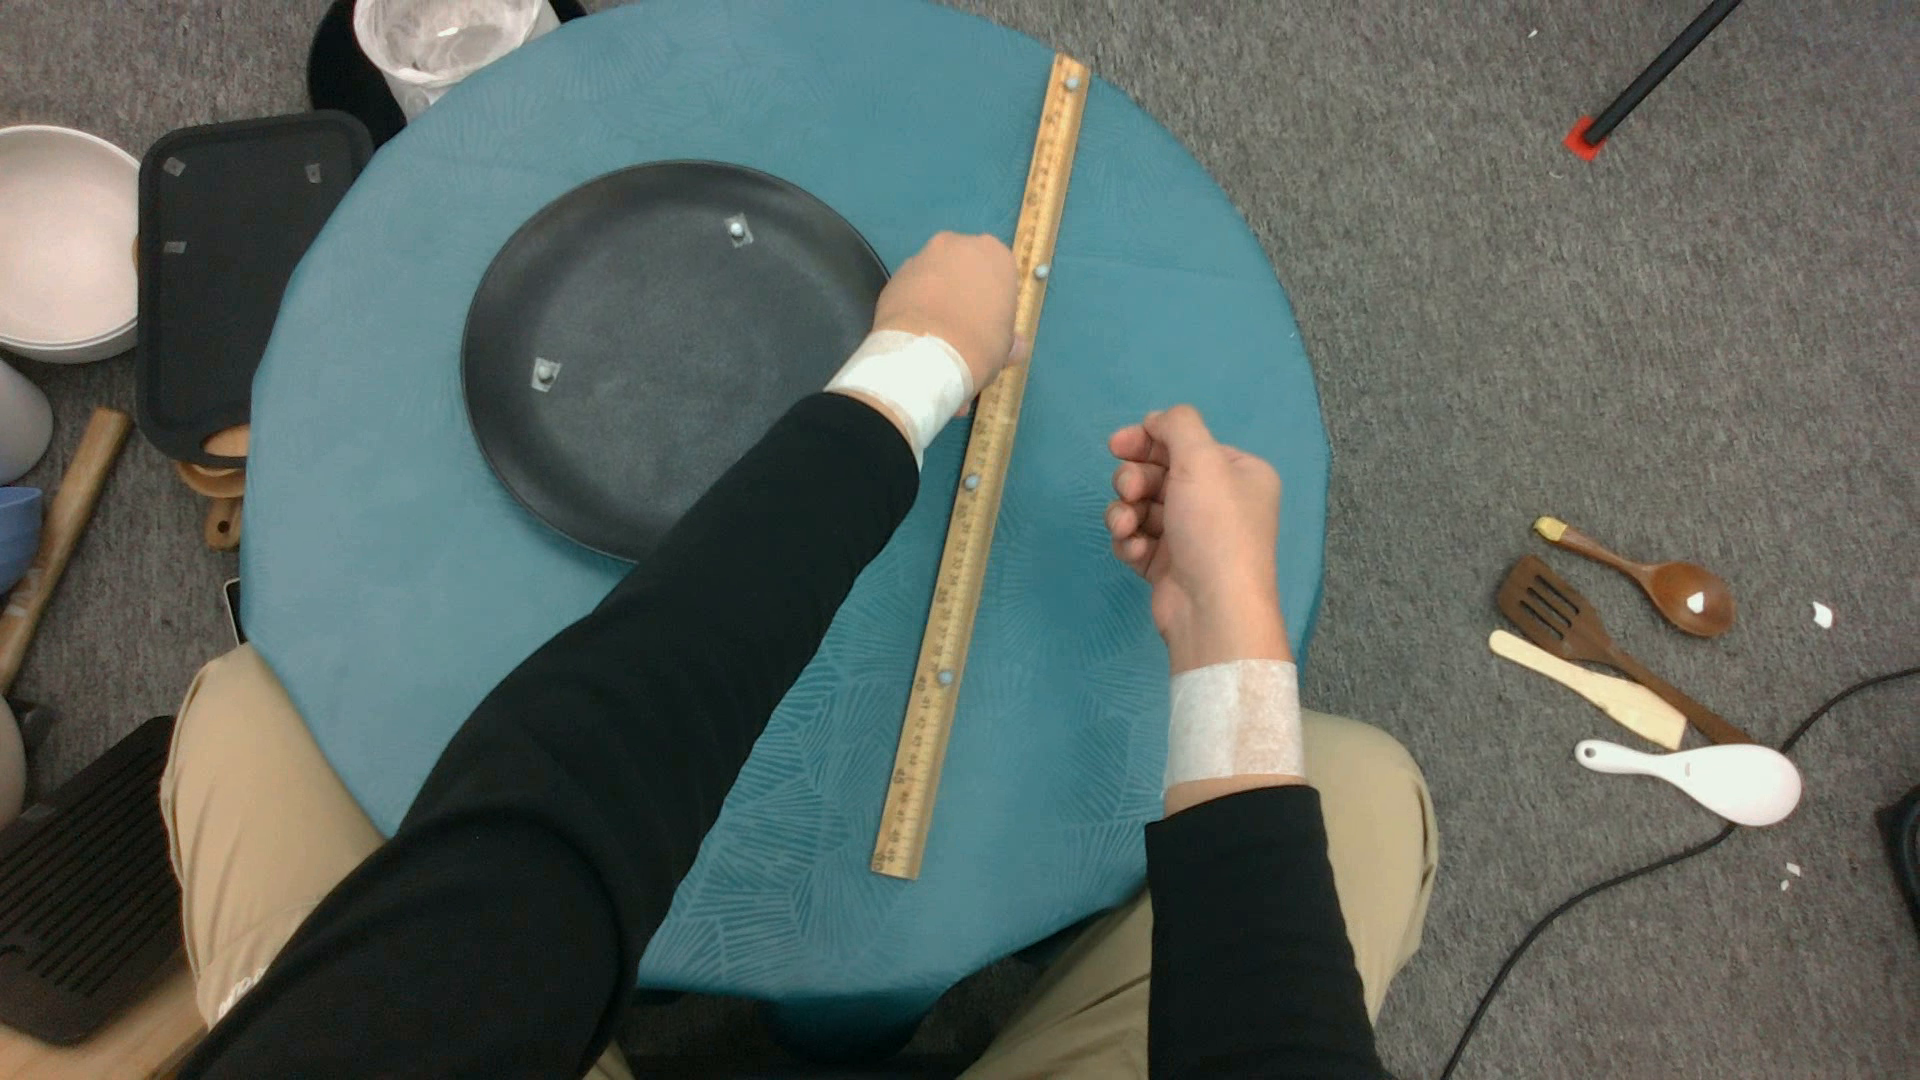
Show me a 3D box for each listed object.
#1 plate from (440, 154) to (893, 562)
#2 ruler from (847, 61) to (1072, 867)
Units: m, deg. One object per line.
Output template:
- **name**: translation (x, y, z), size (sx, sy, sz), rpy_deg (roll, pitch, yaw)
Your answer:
- **plate**: translation (-0.159, -0.103, 0.764), size (0.244, 0.023, 0.245), rpy_deg (2, 73, -7)
- **ruler**: translation (0.005, -0.066, 0.785), size (0.027, 0.006, 0.502), rpy_deg (13, 72, -1)
